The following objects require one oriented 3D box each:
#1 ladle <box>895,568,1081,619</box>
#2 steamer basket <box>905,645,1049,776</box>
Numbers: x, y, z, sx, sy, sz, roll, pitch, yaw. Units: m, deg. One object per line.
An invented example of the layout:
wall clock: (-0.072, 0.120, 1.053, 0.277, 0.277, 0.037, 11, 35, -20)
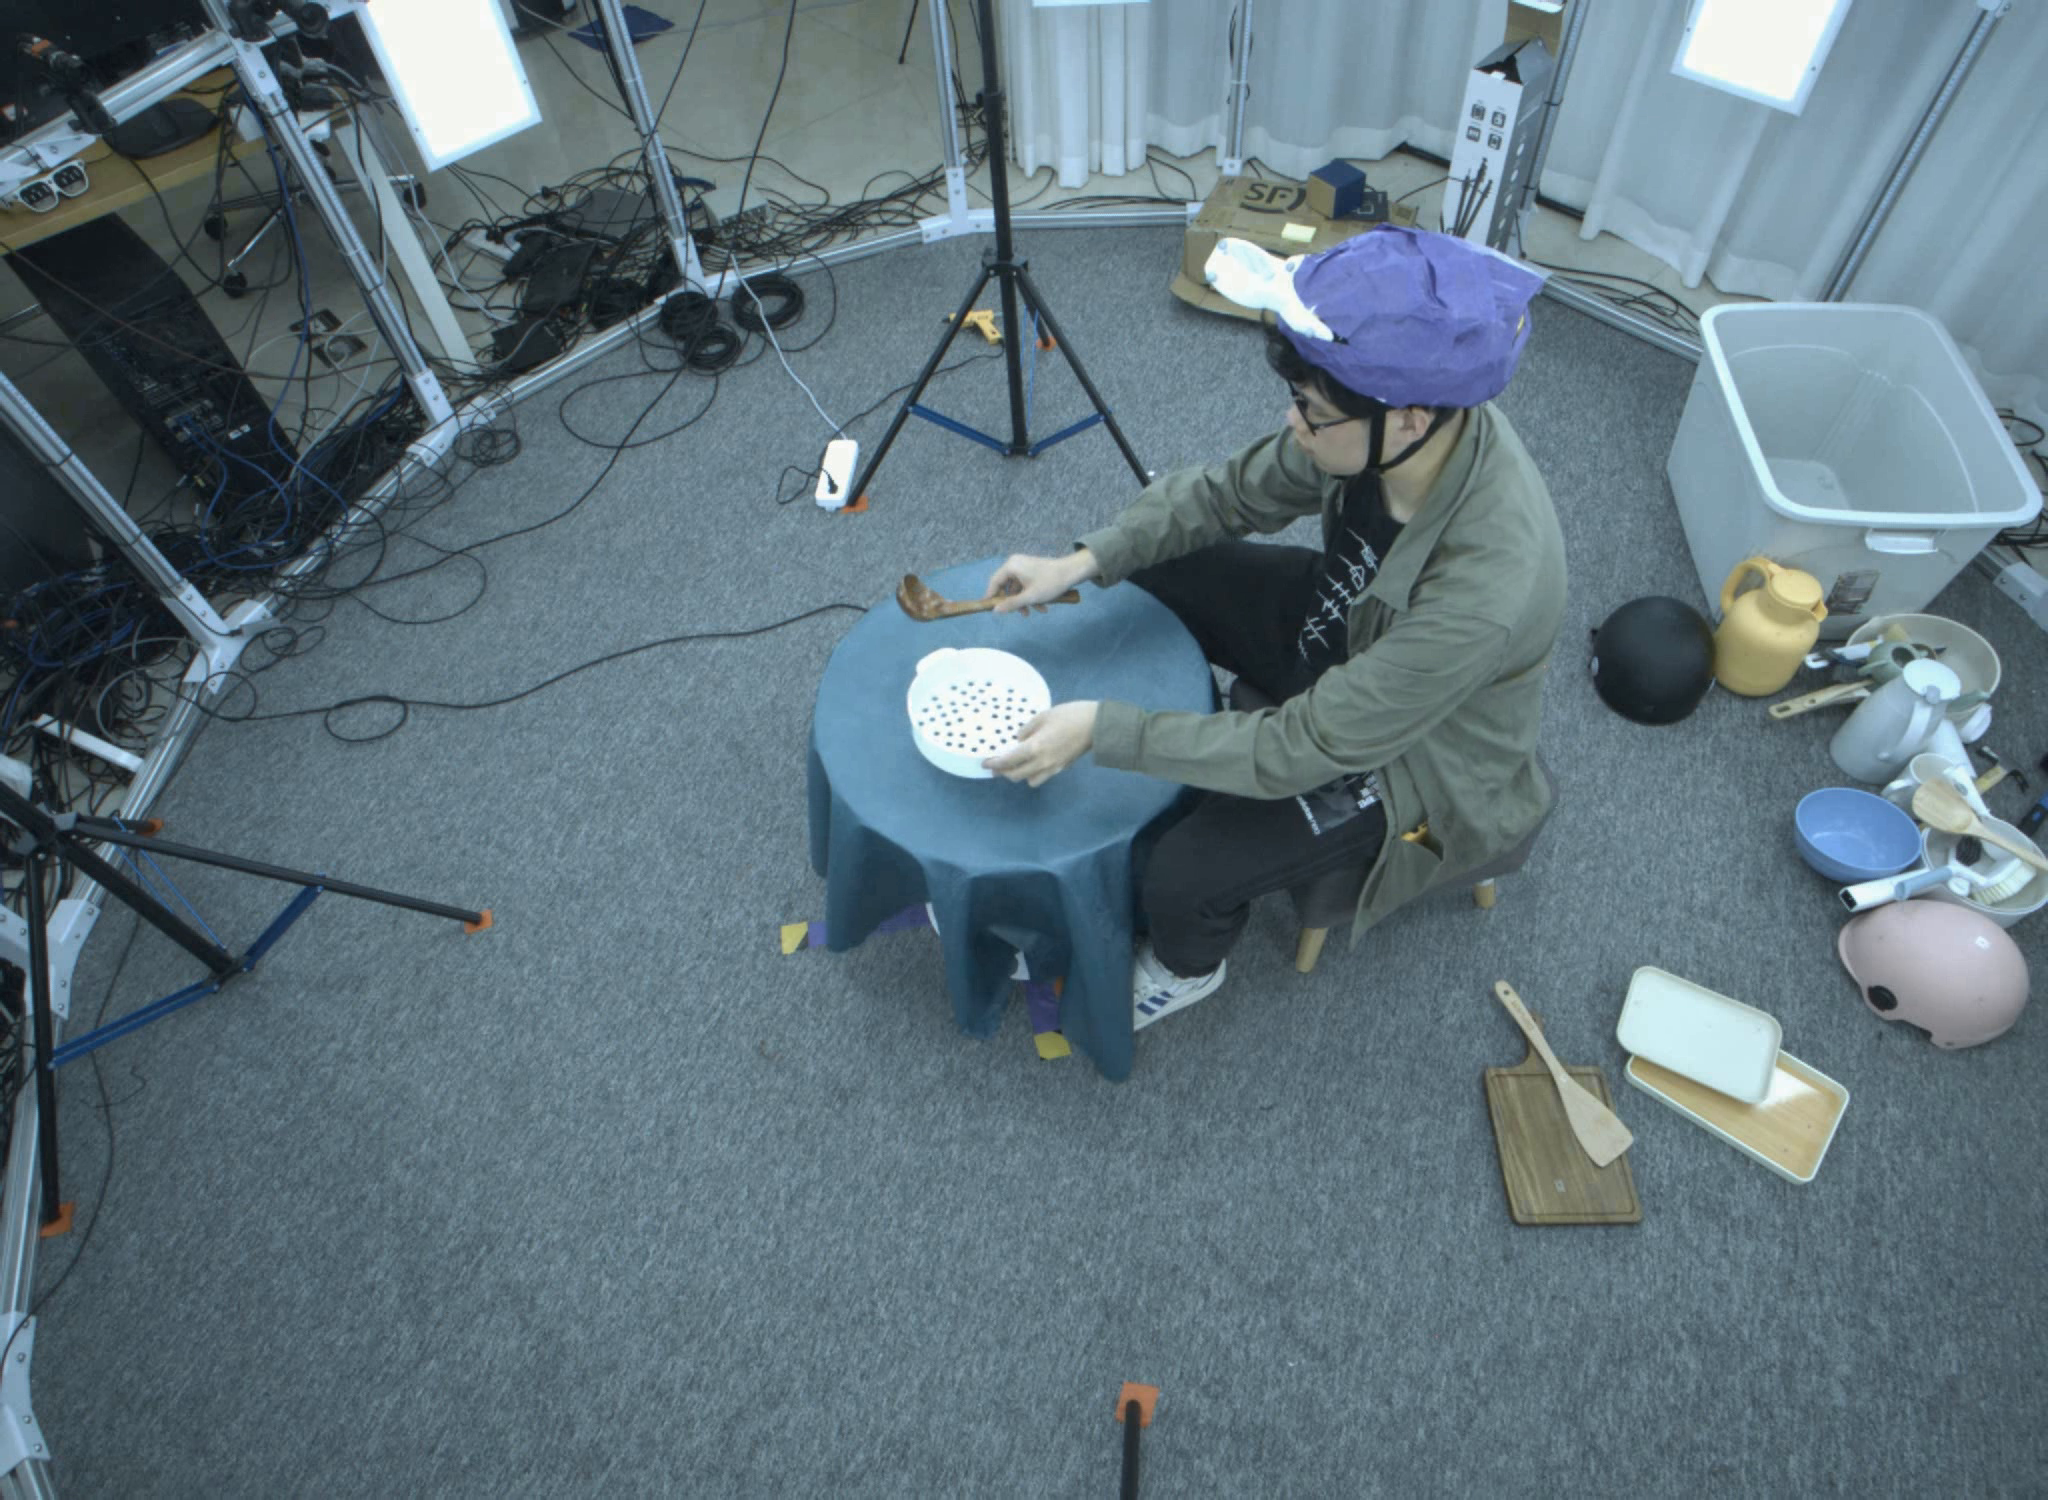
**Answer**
ladle: (-0.053, -0.238, 1.815, 0.275, 0.077, 0.081, -5, 57, -5)
steamer basket: (-0.067, -0.054, 1.744, 0.204, 0.070, 0.226, -32, 62, -25)
